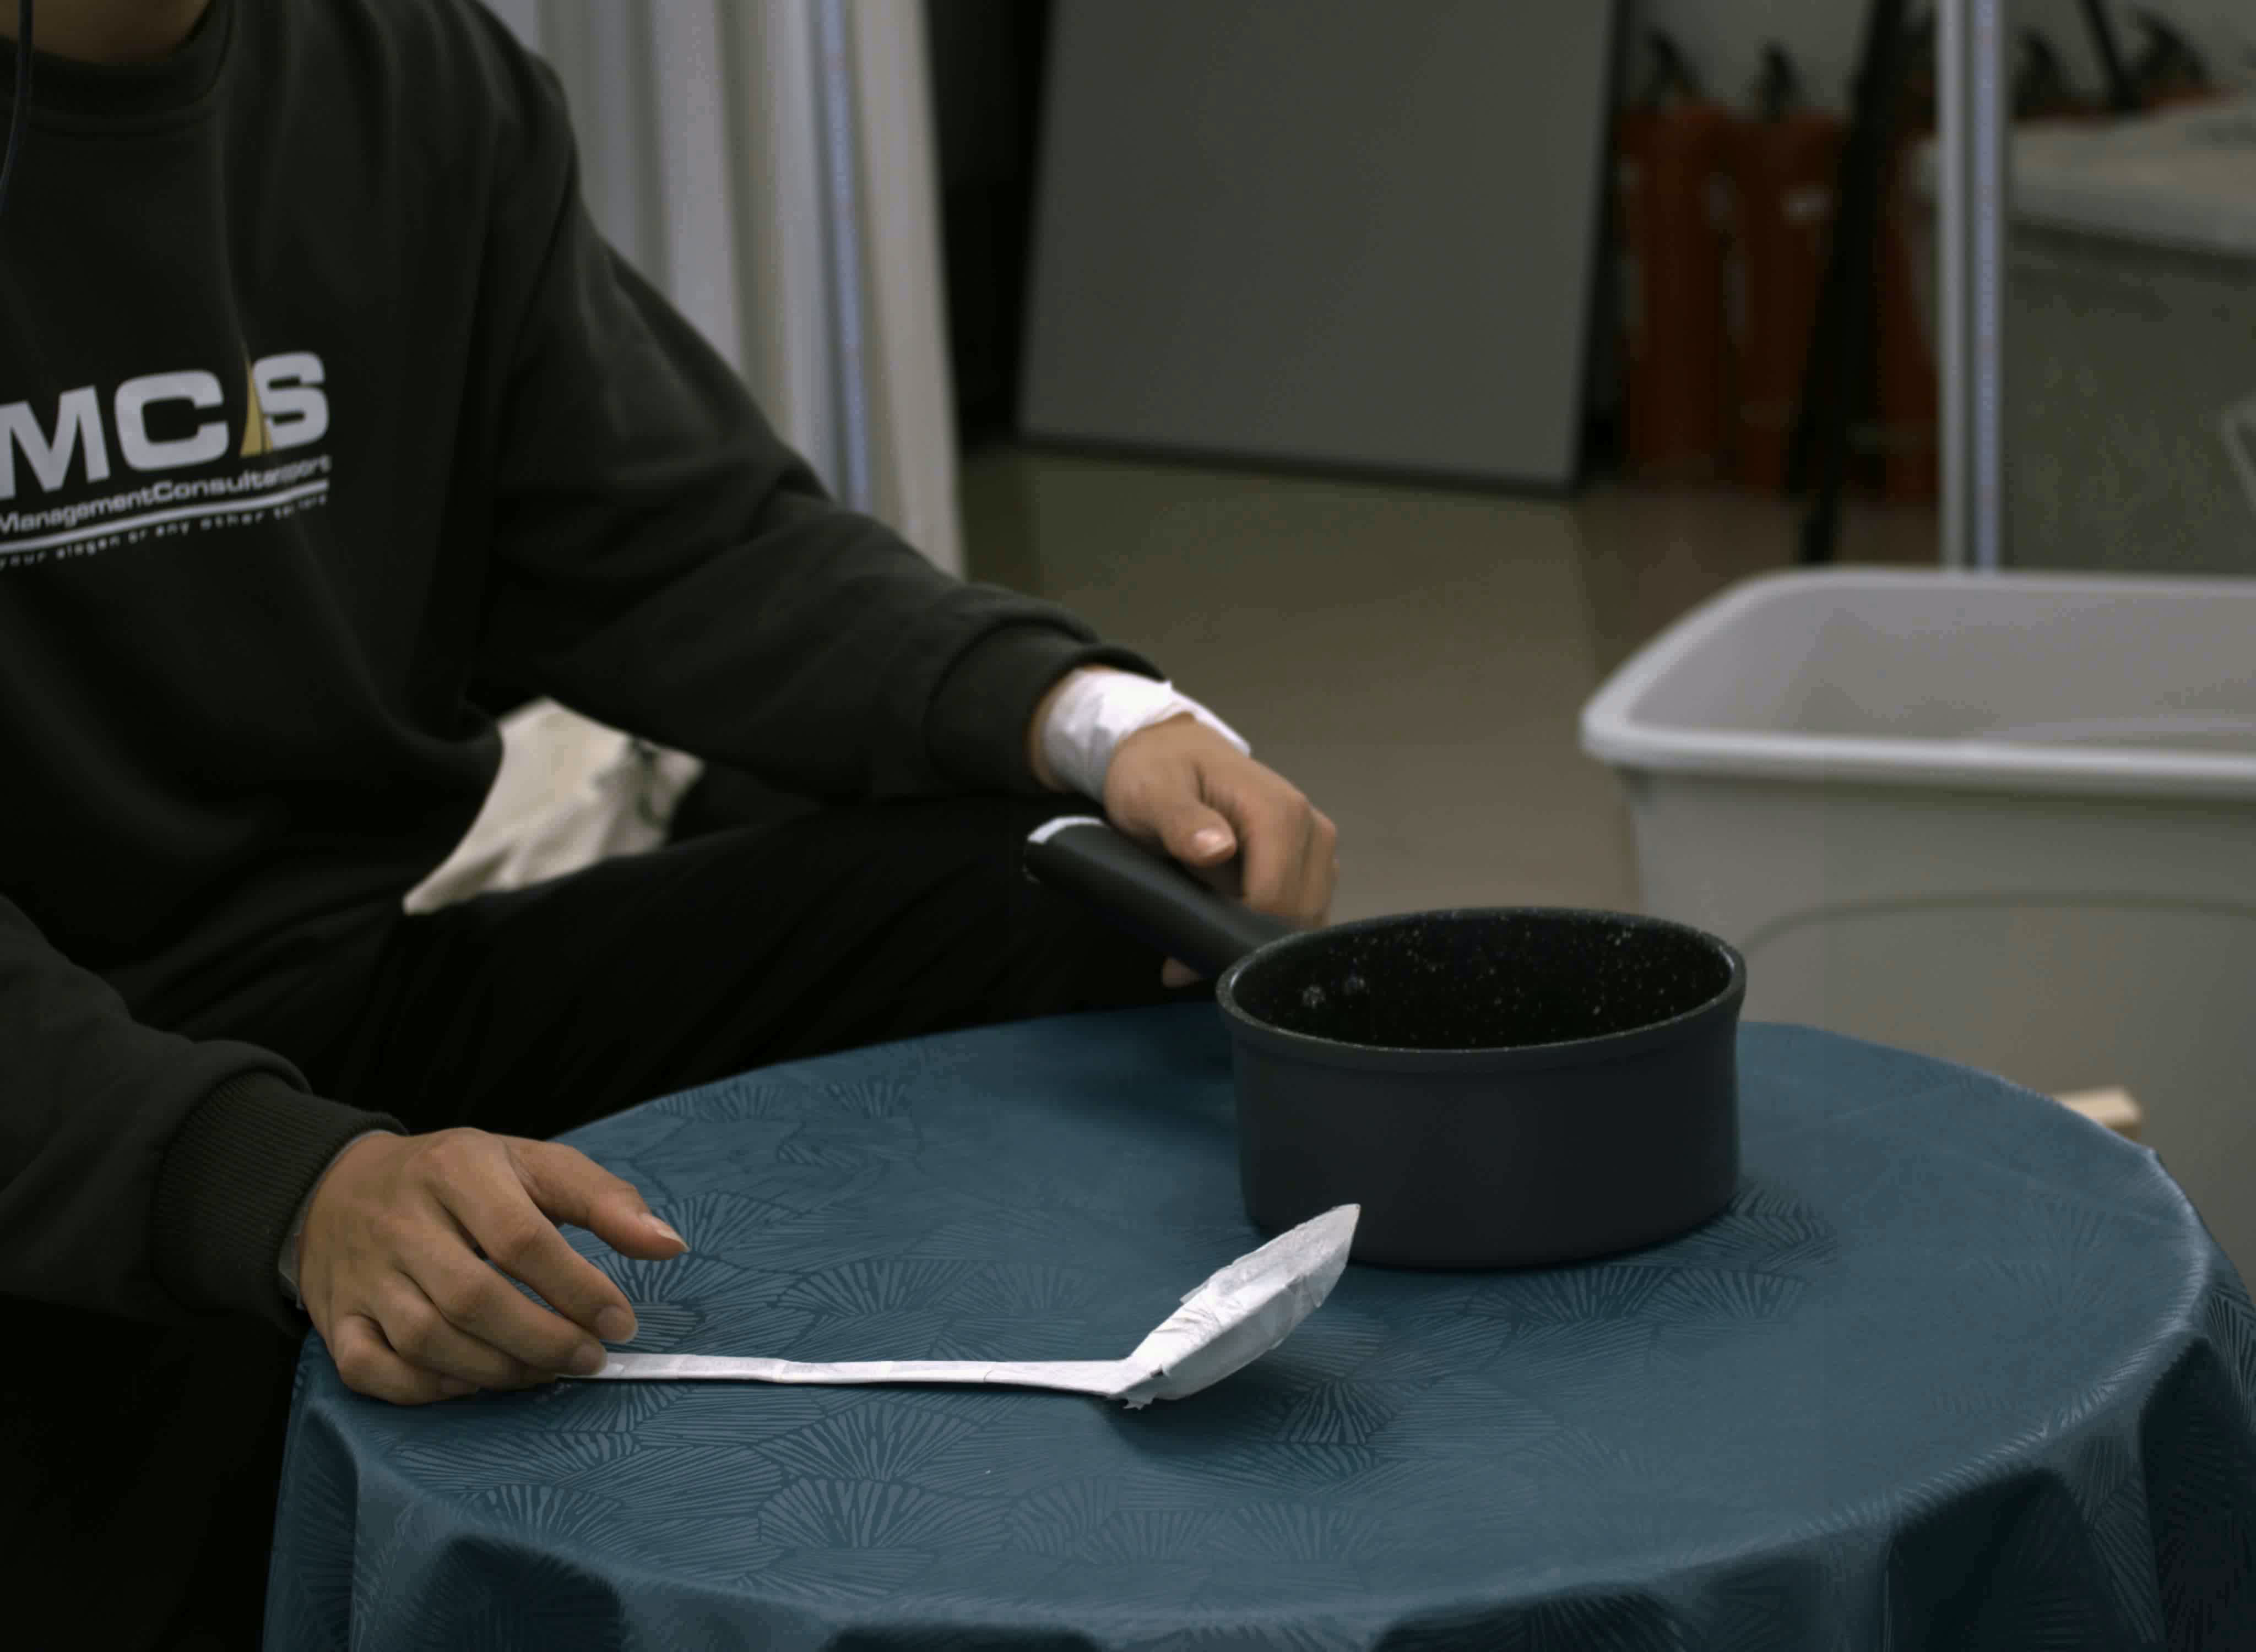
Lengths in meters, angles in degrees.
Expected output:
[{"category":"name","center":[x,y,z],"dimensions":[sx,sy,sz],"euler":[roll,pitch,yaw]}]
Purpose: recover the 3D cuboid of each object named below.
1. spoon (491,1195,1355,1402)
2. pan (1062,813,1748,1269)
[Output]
[{"category":"spoon","center":[-0.064,0.137,1.608],"dimensions":[0.277,0.060,0.100],"euler":[1,12,19]},{"category":"pan","center":[0.074,0.067,1.799],"dimensions":[0.168,0.087,0.332],"euler":[-10,15,-30]}]
